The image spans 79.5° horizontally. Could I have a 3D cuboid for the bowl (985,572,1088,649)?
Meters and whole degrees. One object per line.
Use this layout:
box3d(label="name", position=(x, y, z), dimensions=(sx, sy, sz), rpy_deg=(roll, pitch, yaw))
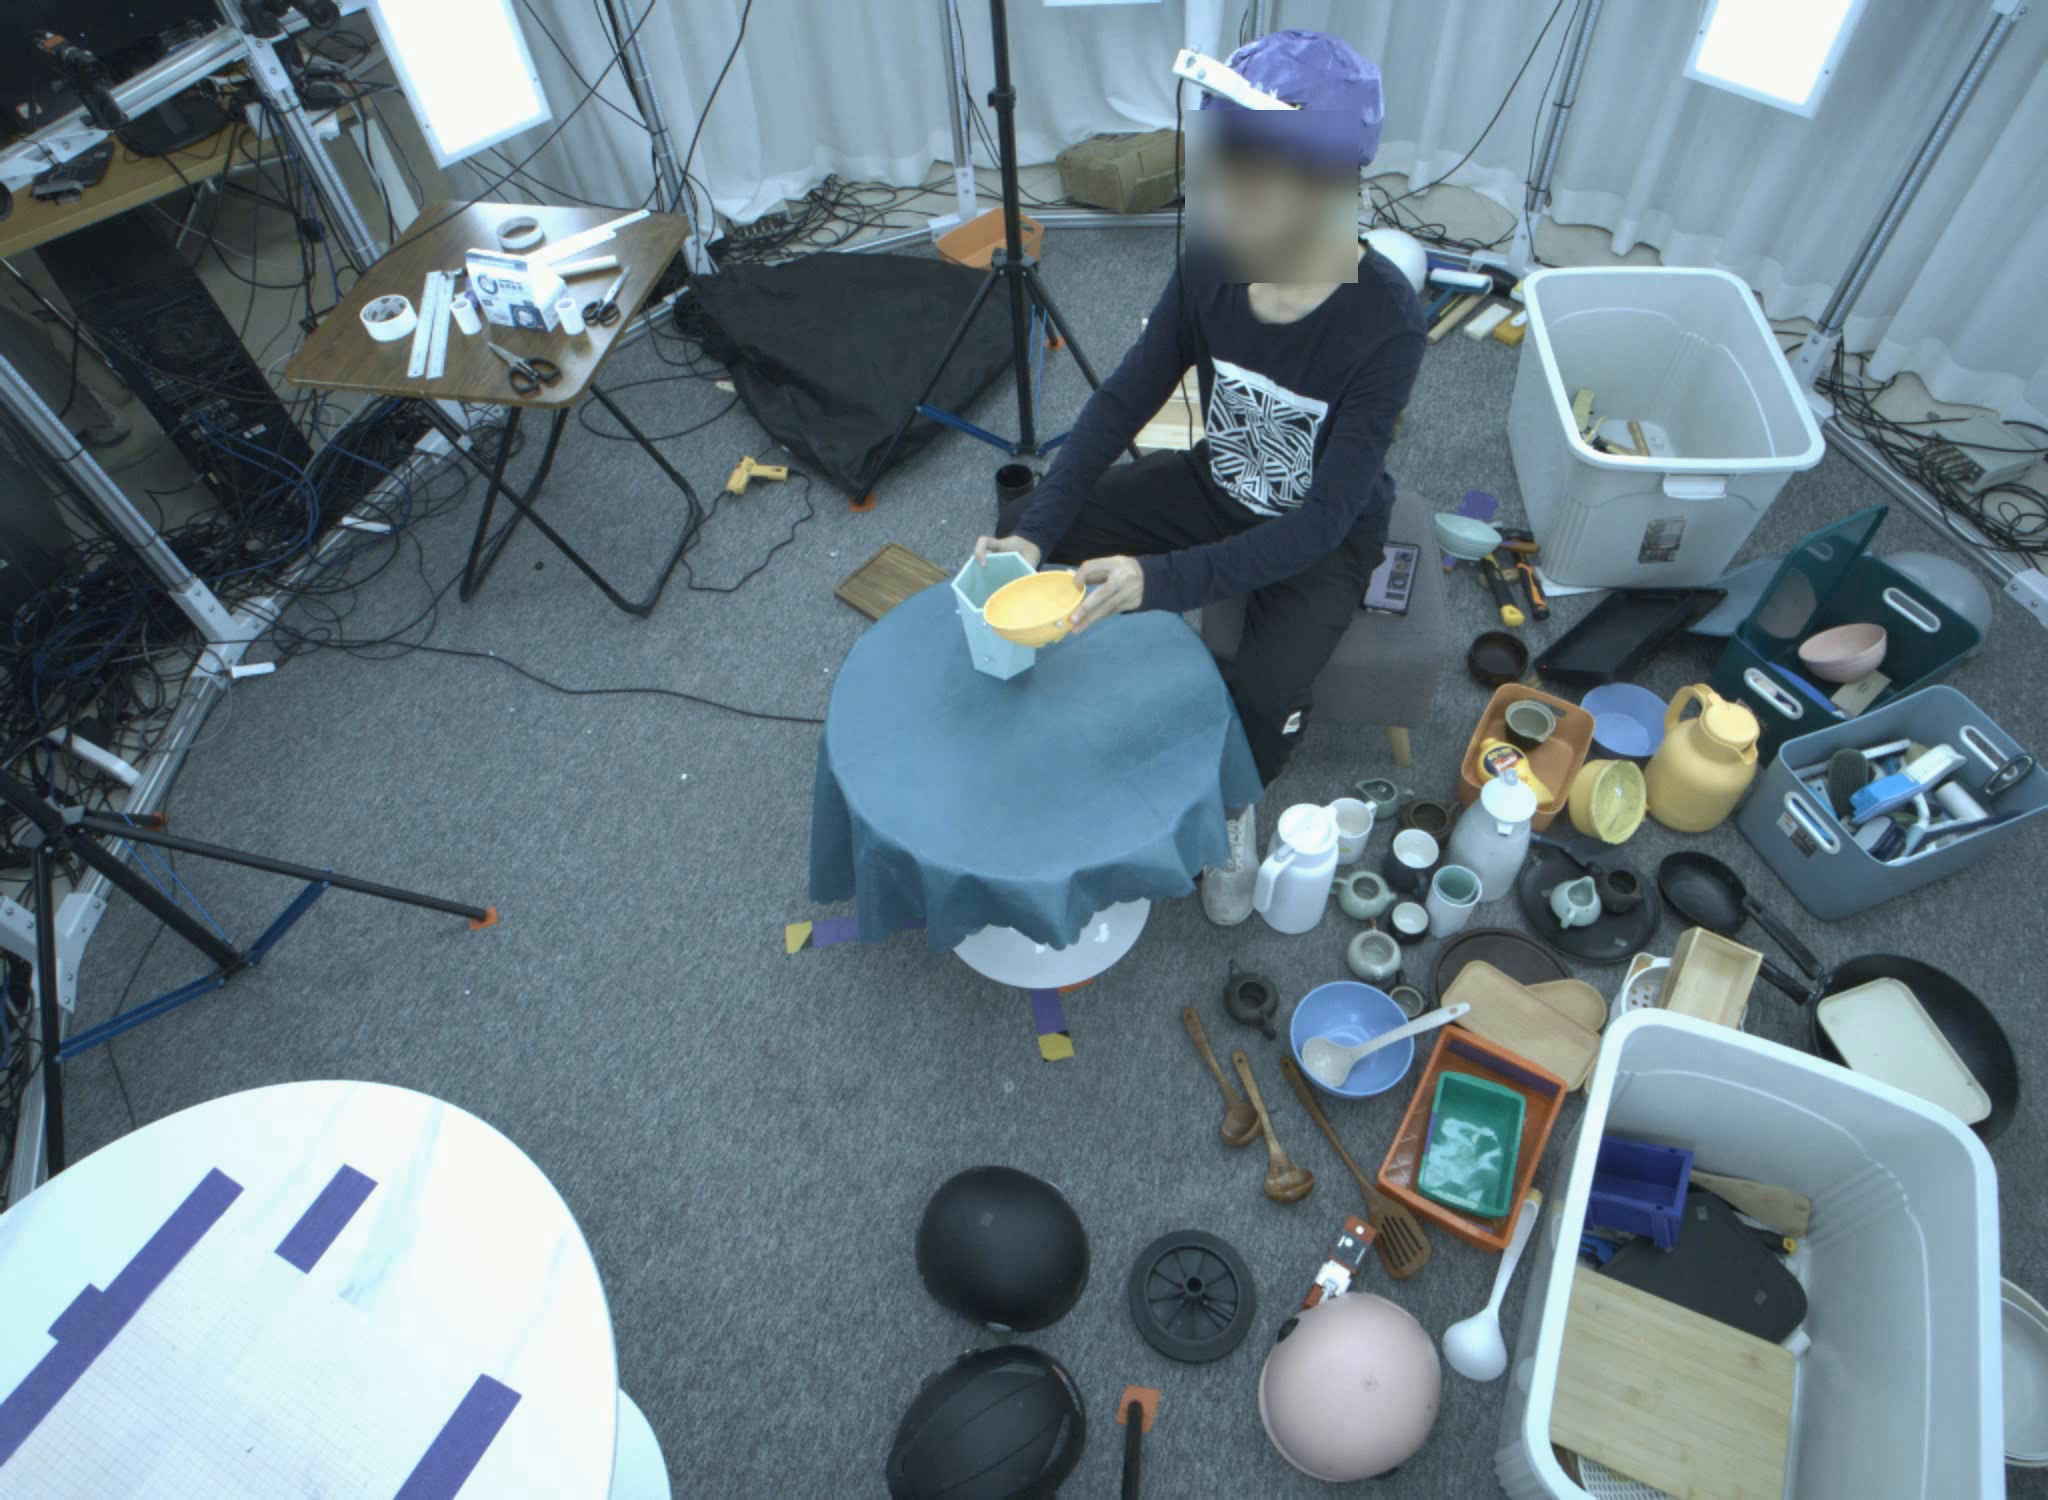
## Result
box3d(label="bowl", position=(0.022, -0.180, 1.673), dimensions=(0.144, 0.061, 0.144), rpy_deg=(-9, 36, 8))

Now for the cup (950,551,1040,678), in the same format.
box3d(label="cup", position=(-0.036, -0.195, 1.818), dimensions=(0.116, 0.165, 0.128), rpy_deg=(-31, 58, -17))
